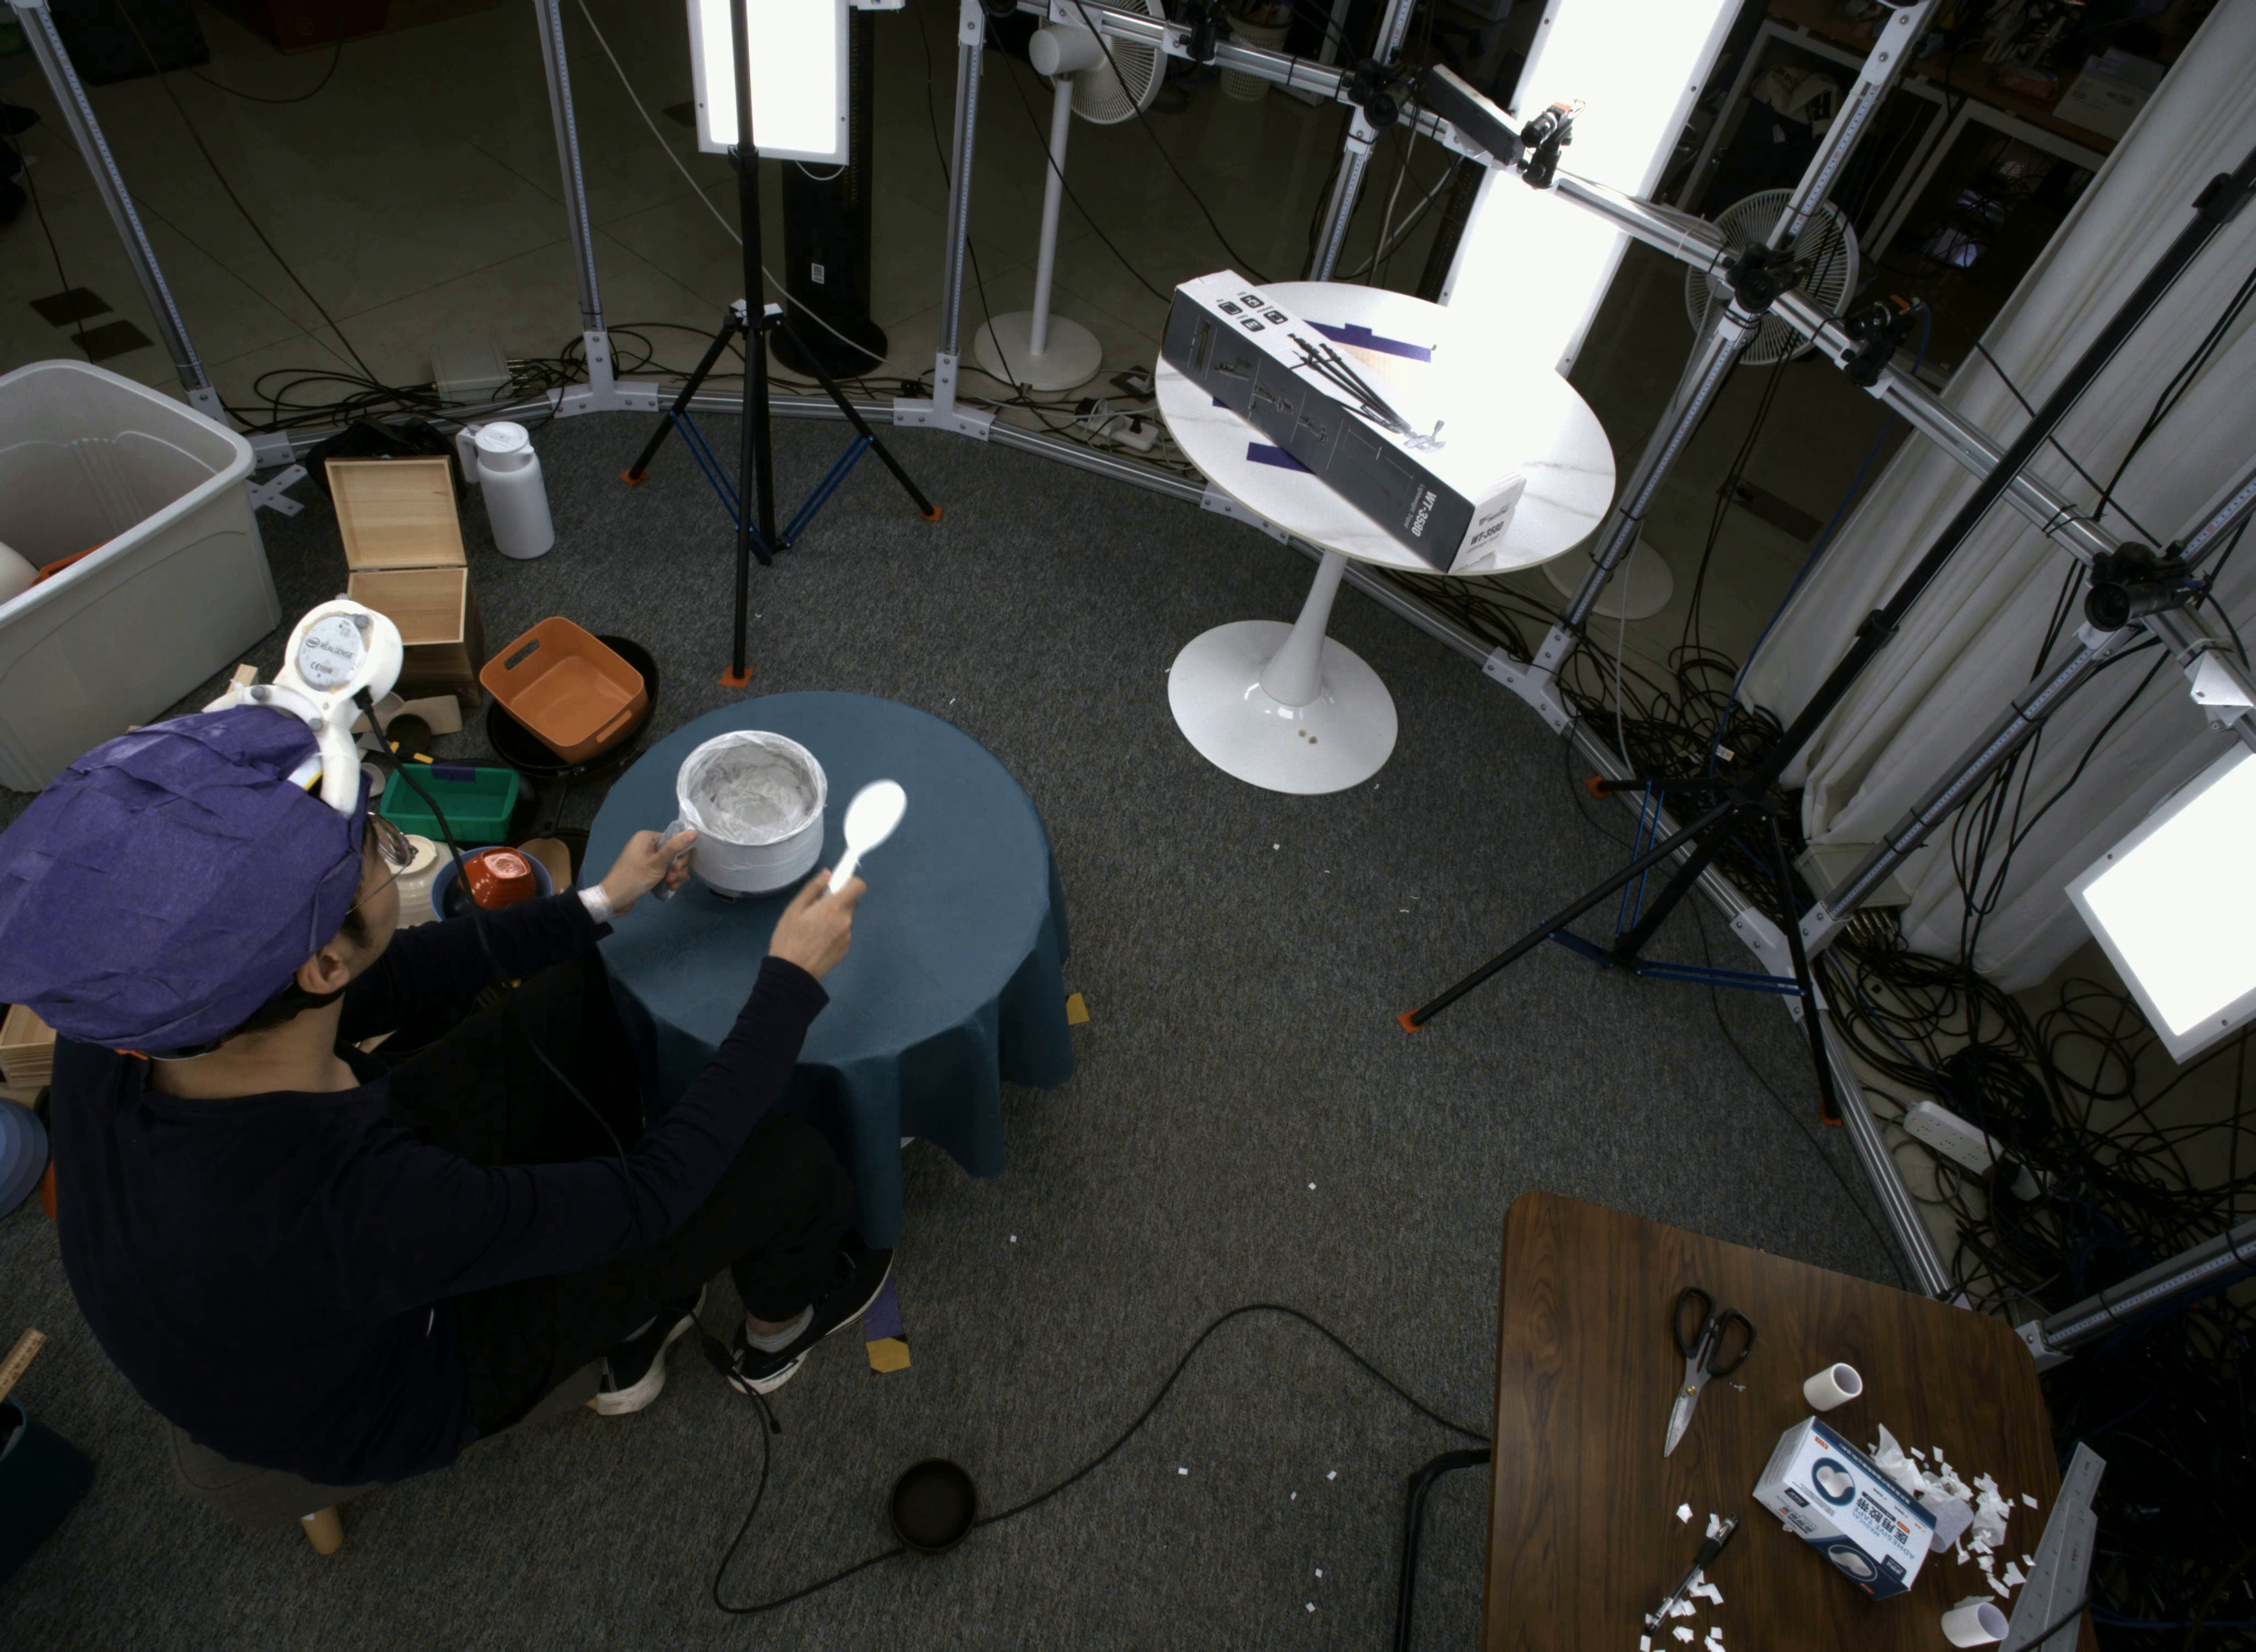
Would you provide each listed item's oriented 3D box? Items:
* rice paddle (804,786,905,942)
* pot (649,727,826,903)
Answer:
[{"bbox_3d":[-0.318,0.036,1.504,0.067,0.030,0.204,12,62,21],"label":"rice paddle"},{"bbox_3d":[-0.485,0.000,1.587,0.175,0.139,0.234,40,52,17],"label":"pot"}]
